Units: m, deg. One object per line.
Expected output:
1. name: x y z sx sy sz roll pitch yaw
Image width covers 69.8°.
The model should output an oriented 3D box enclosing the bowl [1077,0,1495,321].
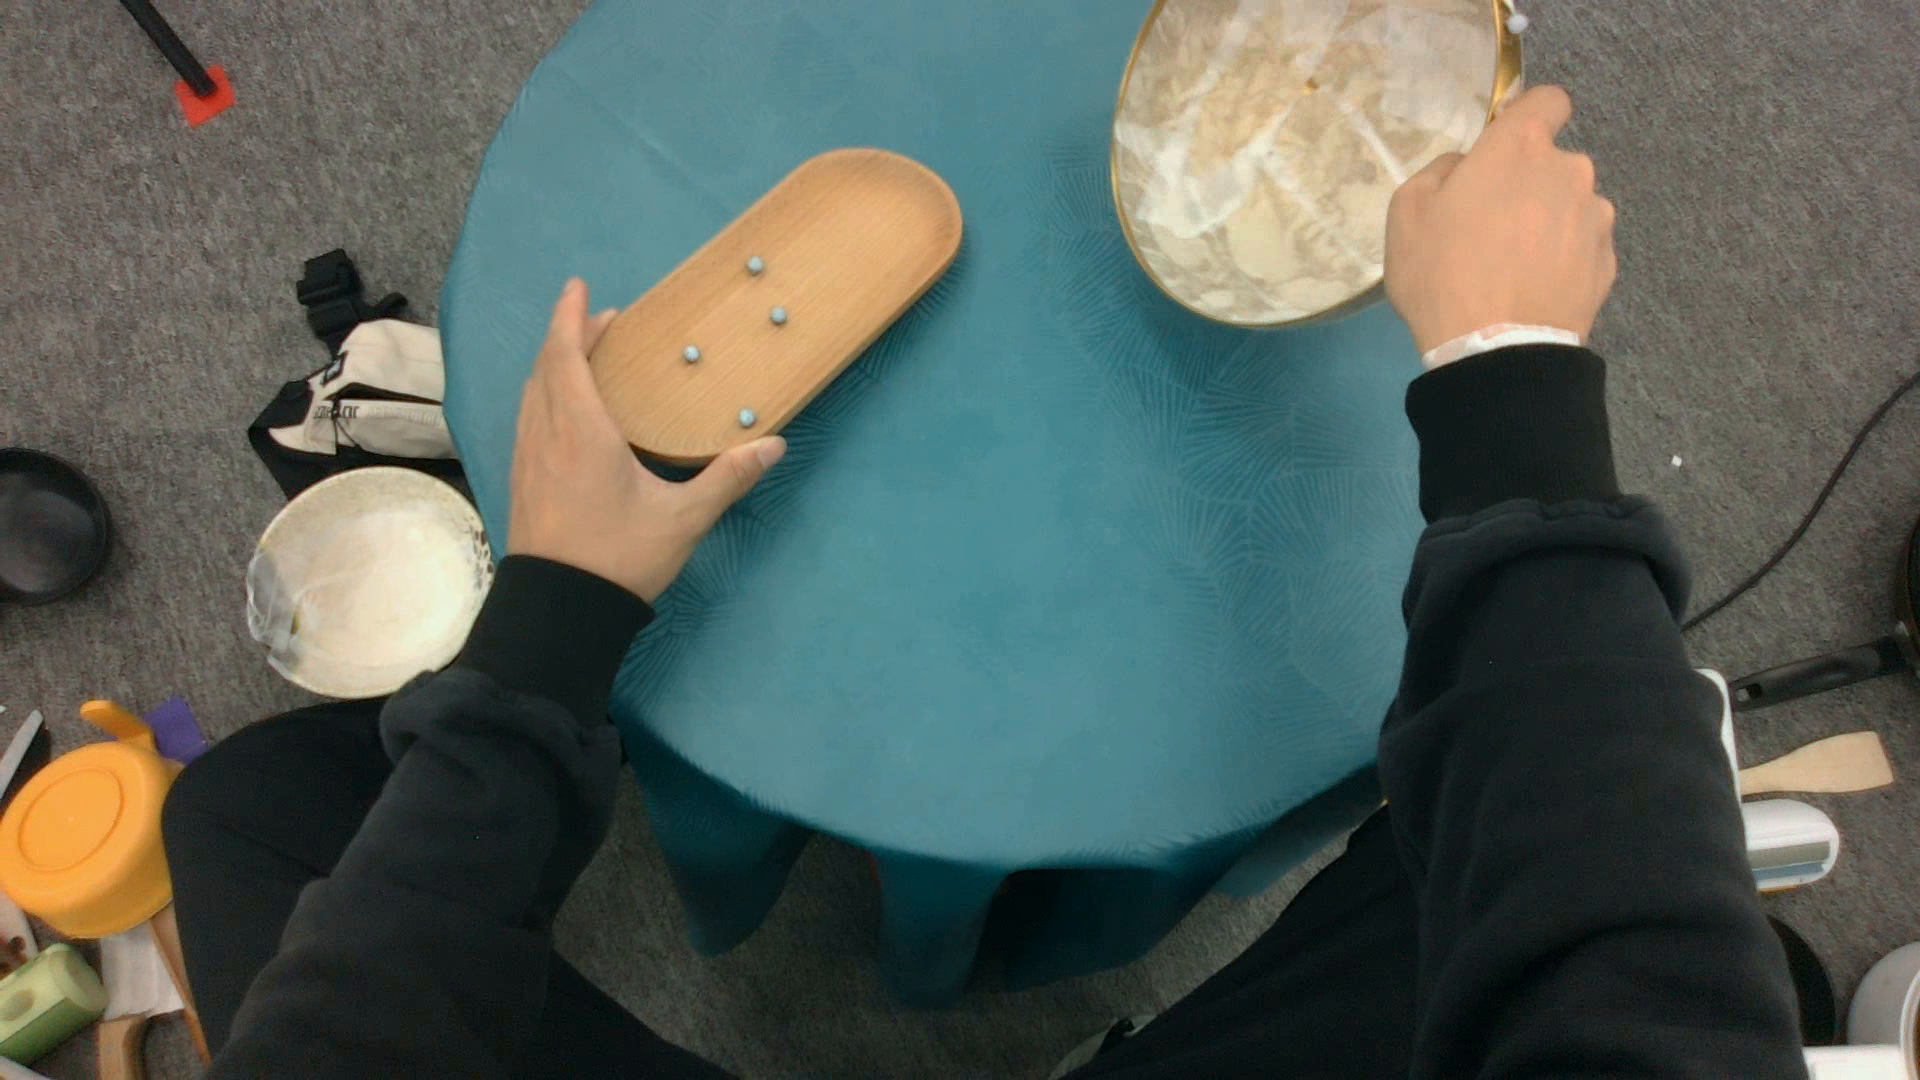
1. bowl: 0.162 -0.201 0.662 0.095 0.213 0.215 1 64 -49

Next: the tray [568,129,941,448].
1. tray: -0.099 -0.132 0.695 0.102 0.020 0.232 34 60 11
